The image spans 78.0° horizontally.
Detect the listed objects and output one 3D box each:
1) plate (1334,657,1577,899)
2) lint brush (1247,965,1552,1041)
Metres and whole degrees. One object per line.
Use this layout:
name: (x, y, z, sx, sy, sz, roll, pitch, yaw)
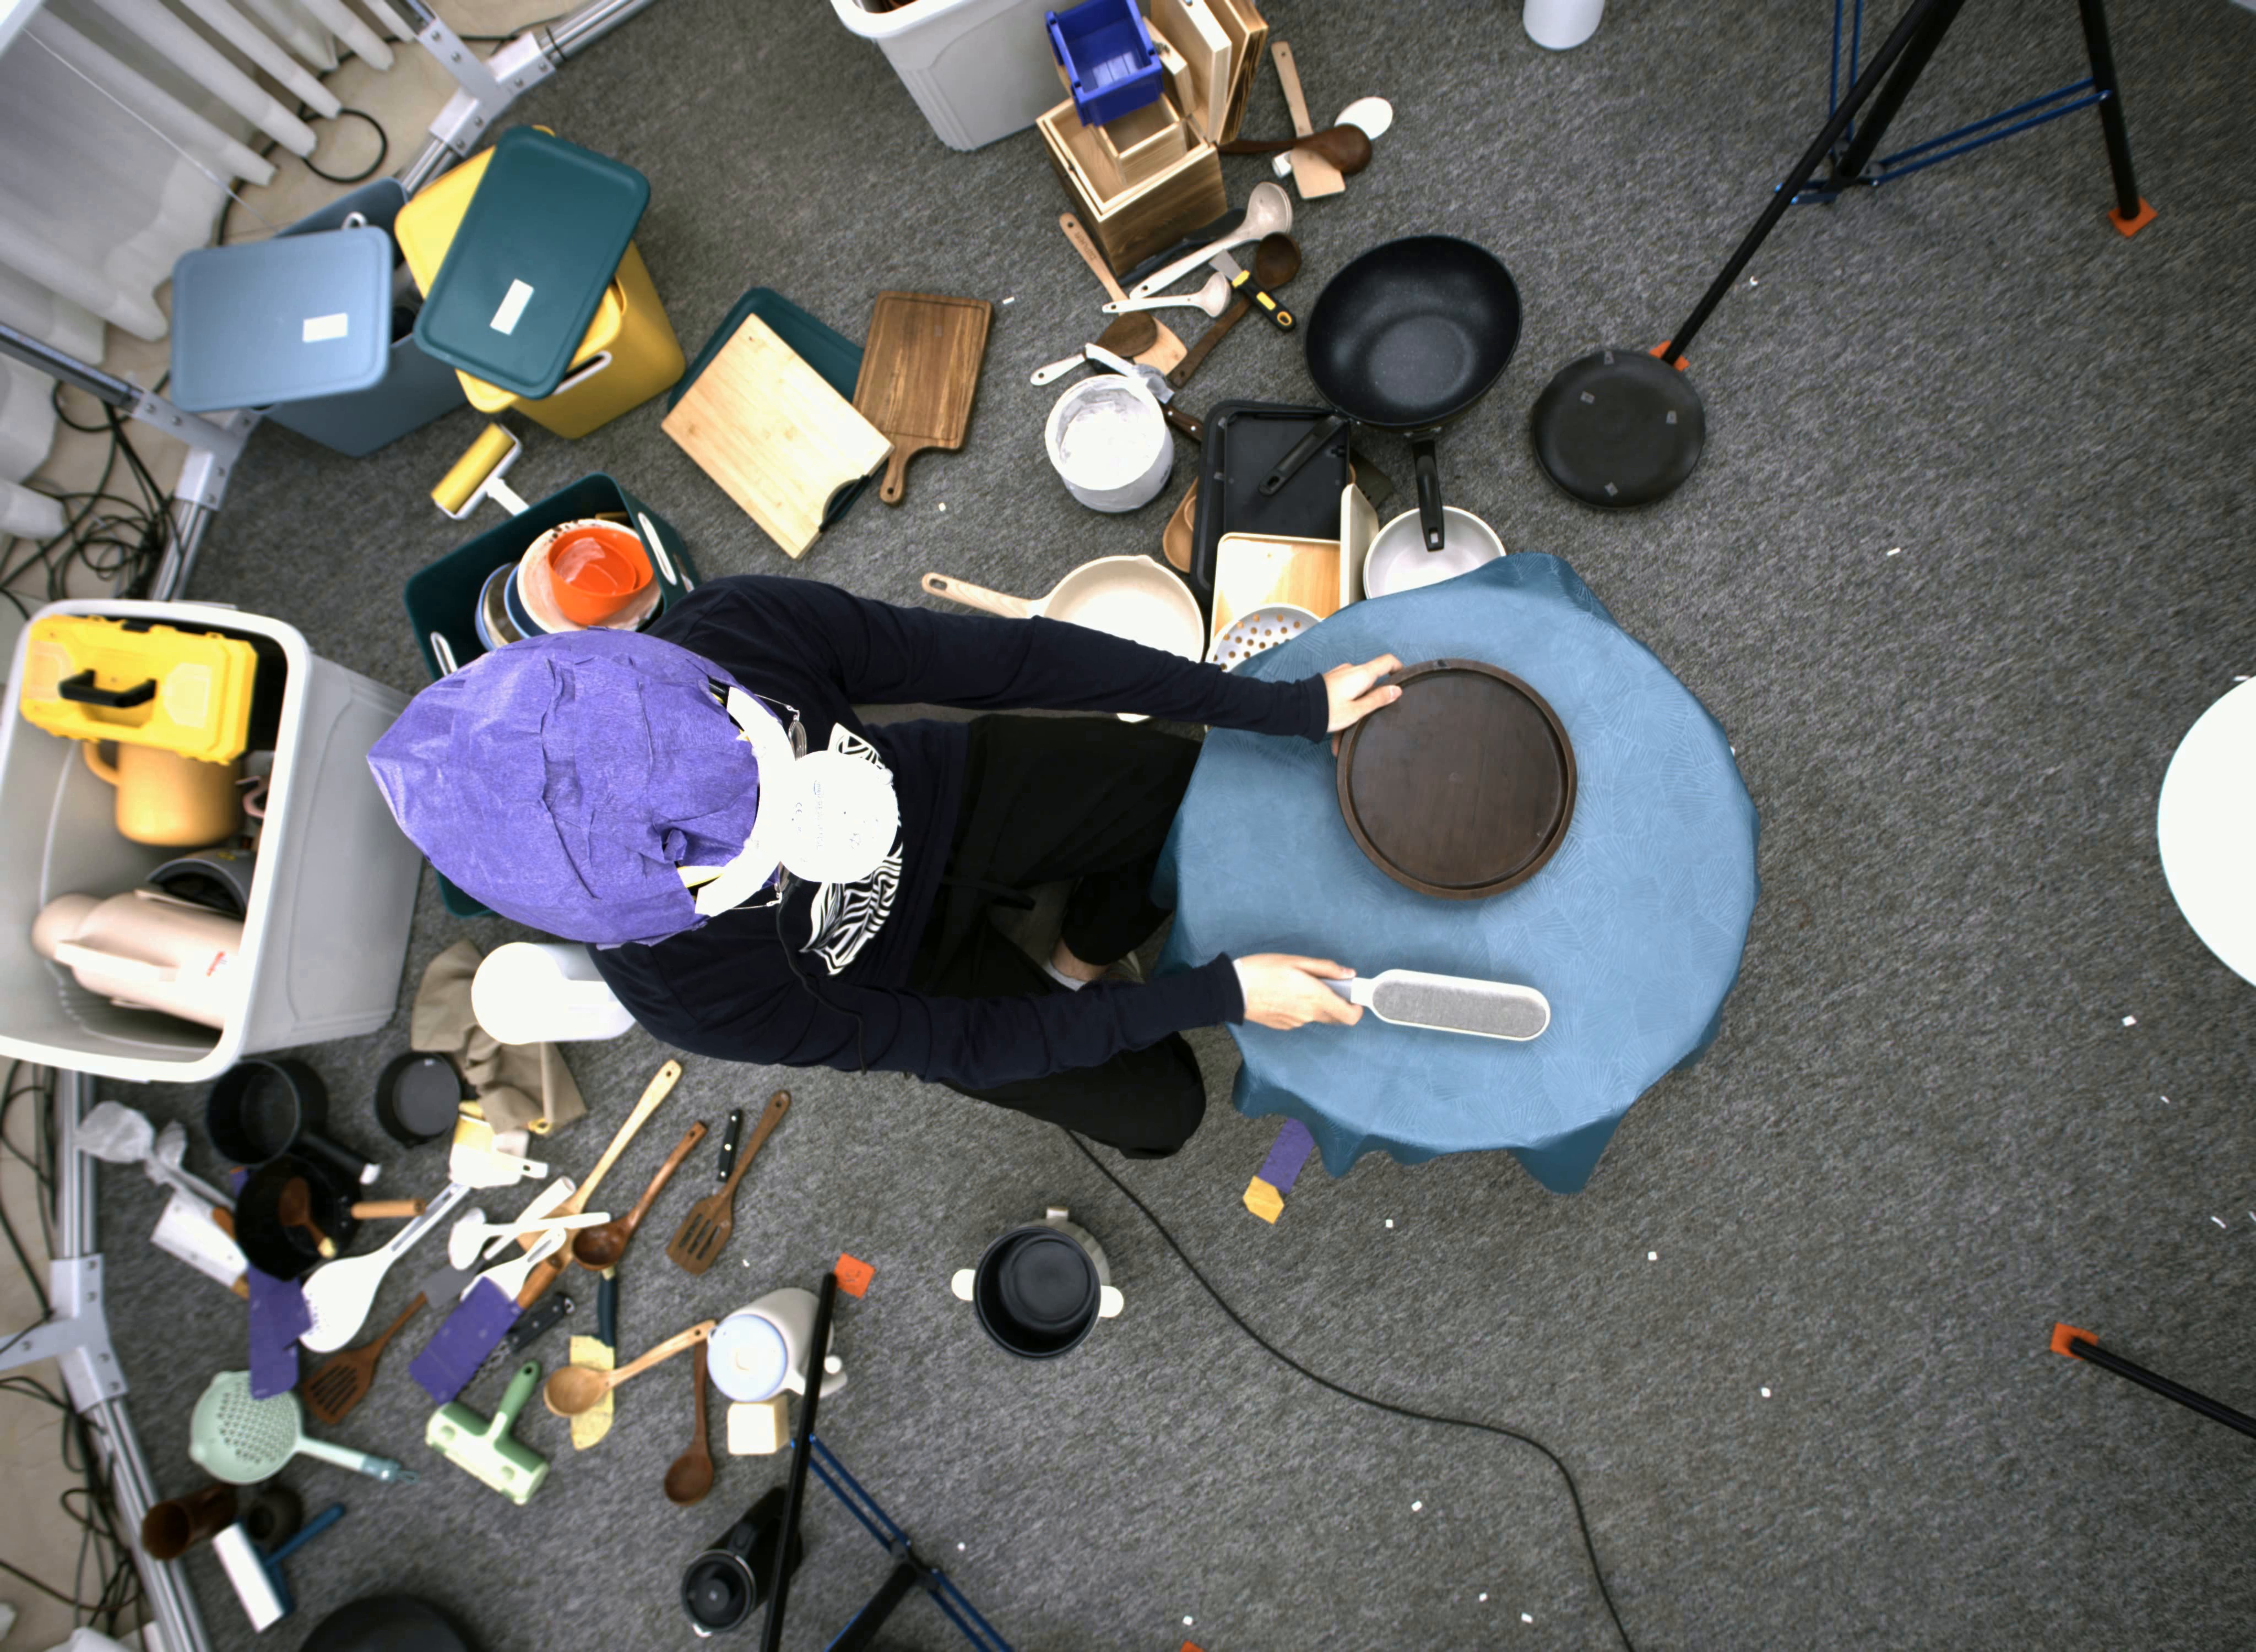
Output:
plate: (0.338, -0.051, 1.420, 0.255, 0.029, 0.253, 0, 84, -1)
lint brush: (0.274, 0.172, 1.409, 0.310, 0.020, 0.061, 7, 120, 10)
